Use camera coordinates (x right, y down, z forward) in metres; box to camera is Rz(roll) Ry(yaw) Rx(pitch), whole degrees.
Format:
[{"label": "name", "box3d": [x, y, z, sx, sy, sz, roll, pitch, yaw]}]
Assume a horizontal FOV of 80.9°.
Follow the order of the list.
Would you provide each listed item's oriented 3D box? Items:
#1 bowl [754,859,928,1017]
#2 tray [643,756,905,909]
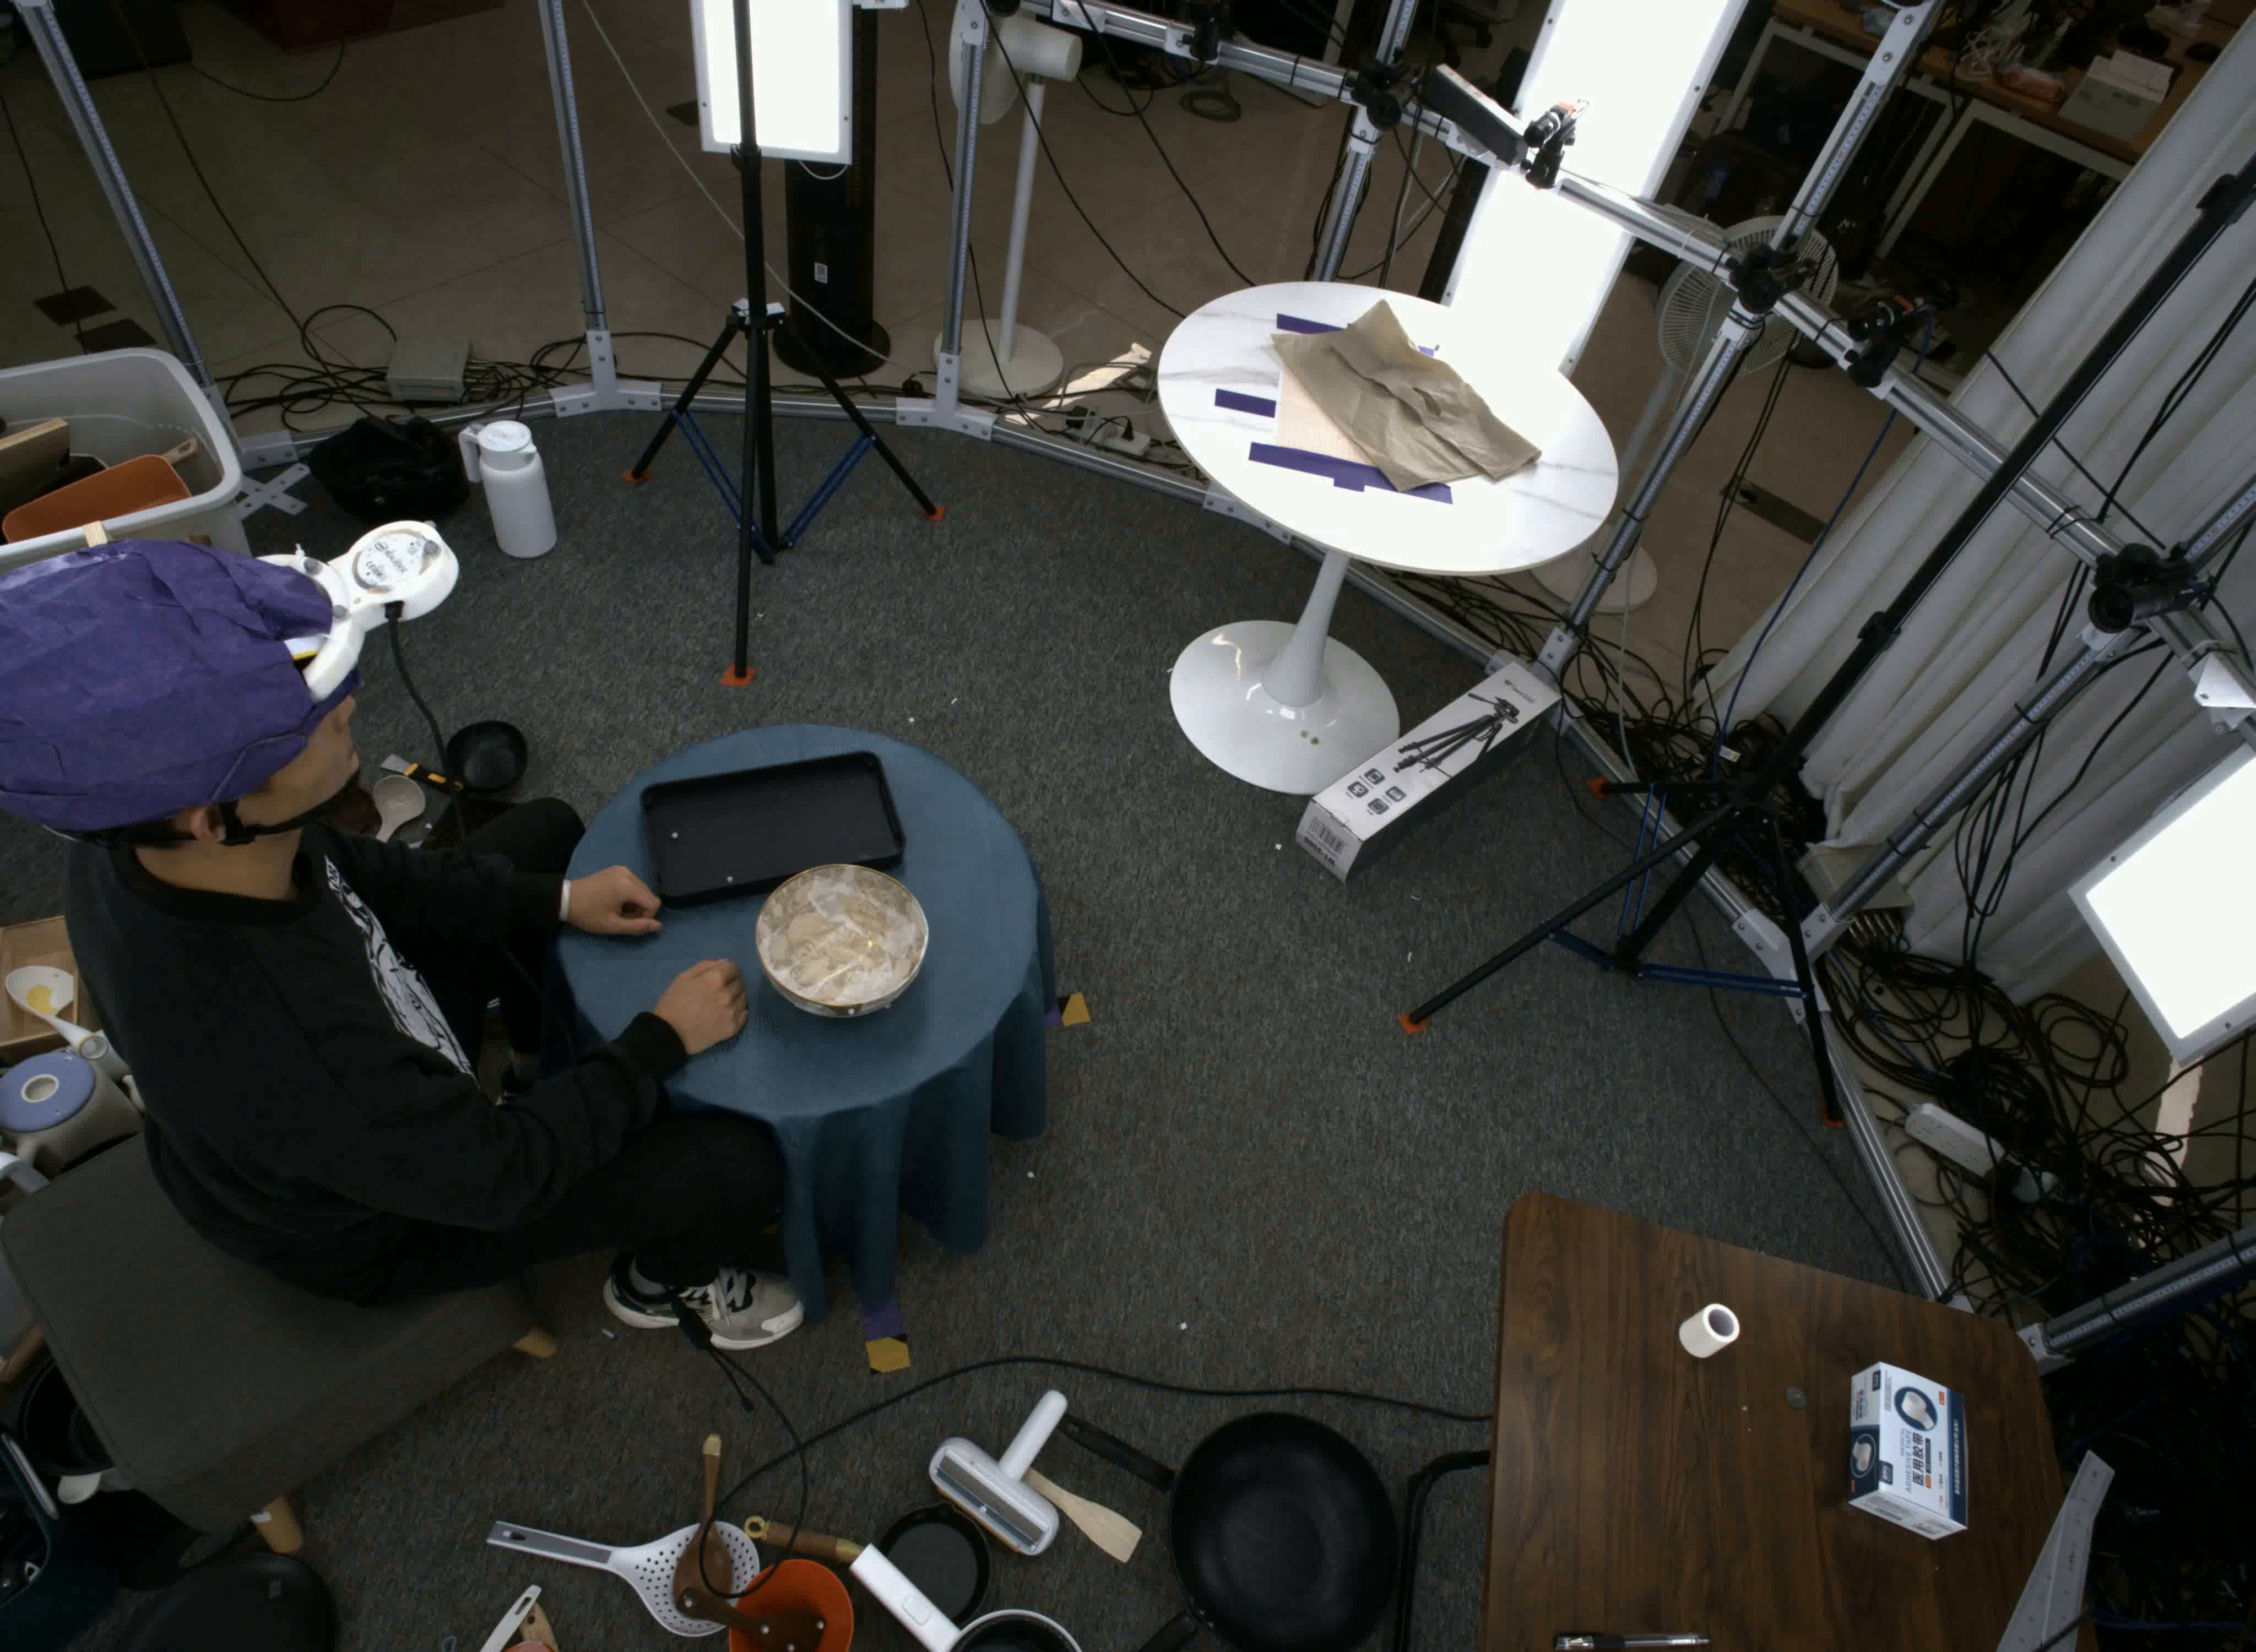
[{"label": "bowl", "box3d": [-0.349, 0.147, 1.578, 0.214, 0.096, 0.211, 8, 54, -9]}, {"label": "tray", "box3d": [-0.464, 0.003, 1.697, 0.320, 0.038, 0.180, -9, 56, -22]}]
